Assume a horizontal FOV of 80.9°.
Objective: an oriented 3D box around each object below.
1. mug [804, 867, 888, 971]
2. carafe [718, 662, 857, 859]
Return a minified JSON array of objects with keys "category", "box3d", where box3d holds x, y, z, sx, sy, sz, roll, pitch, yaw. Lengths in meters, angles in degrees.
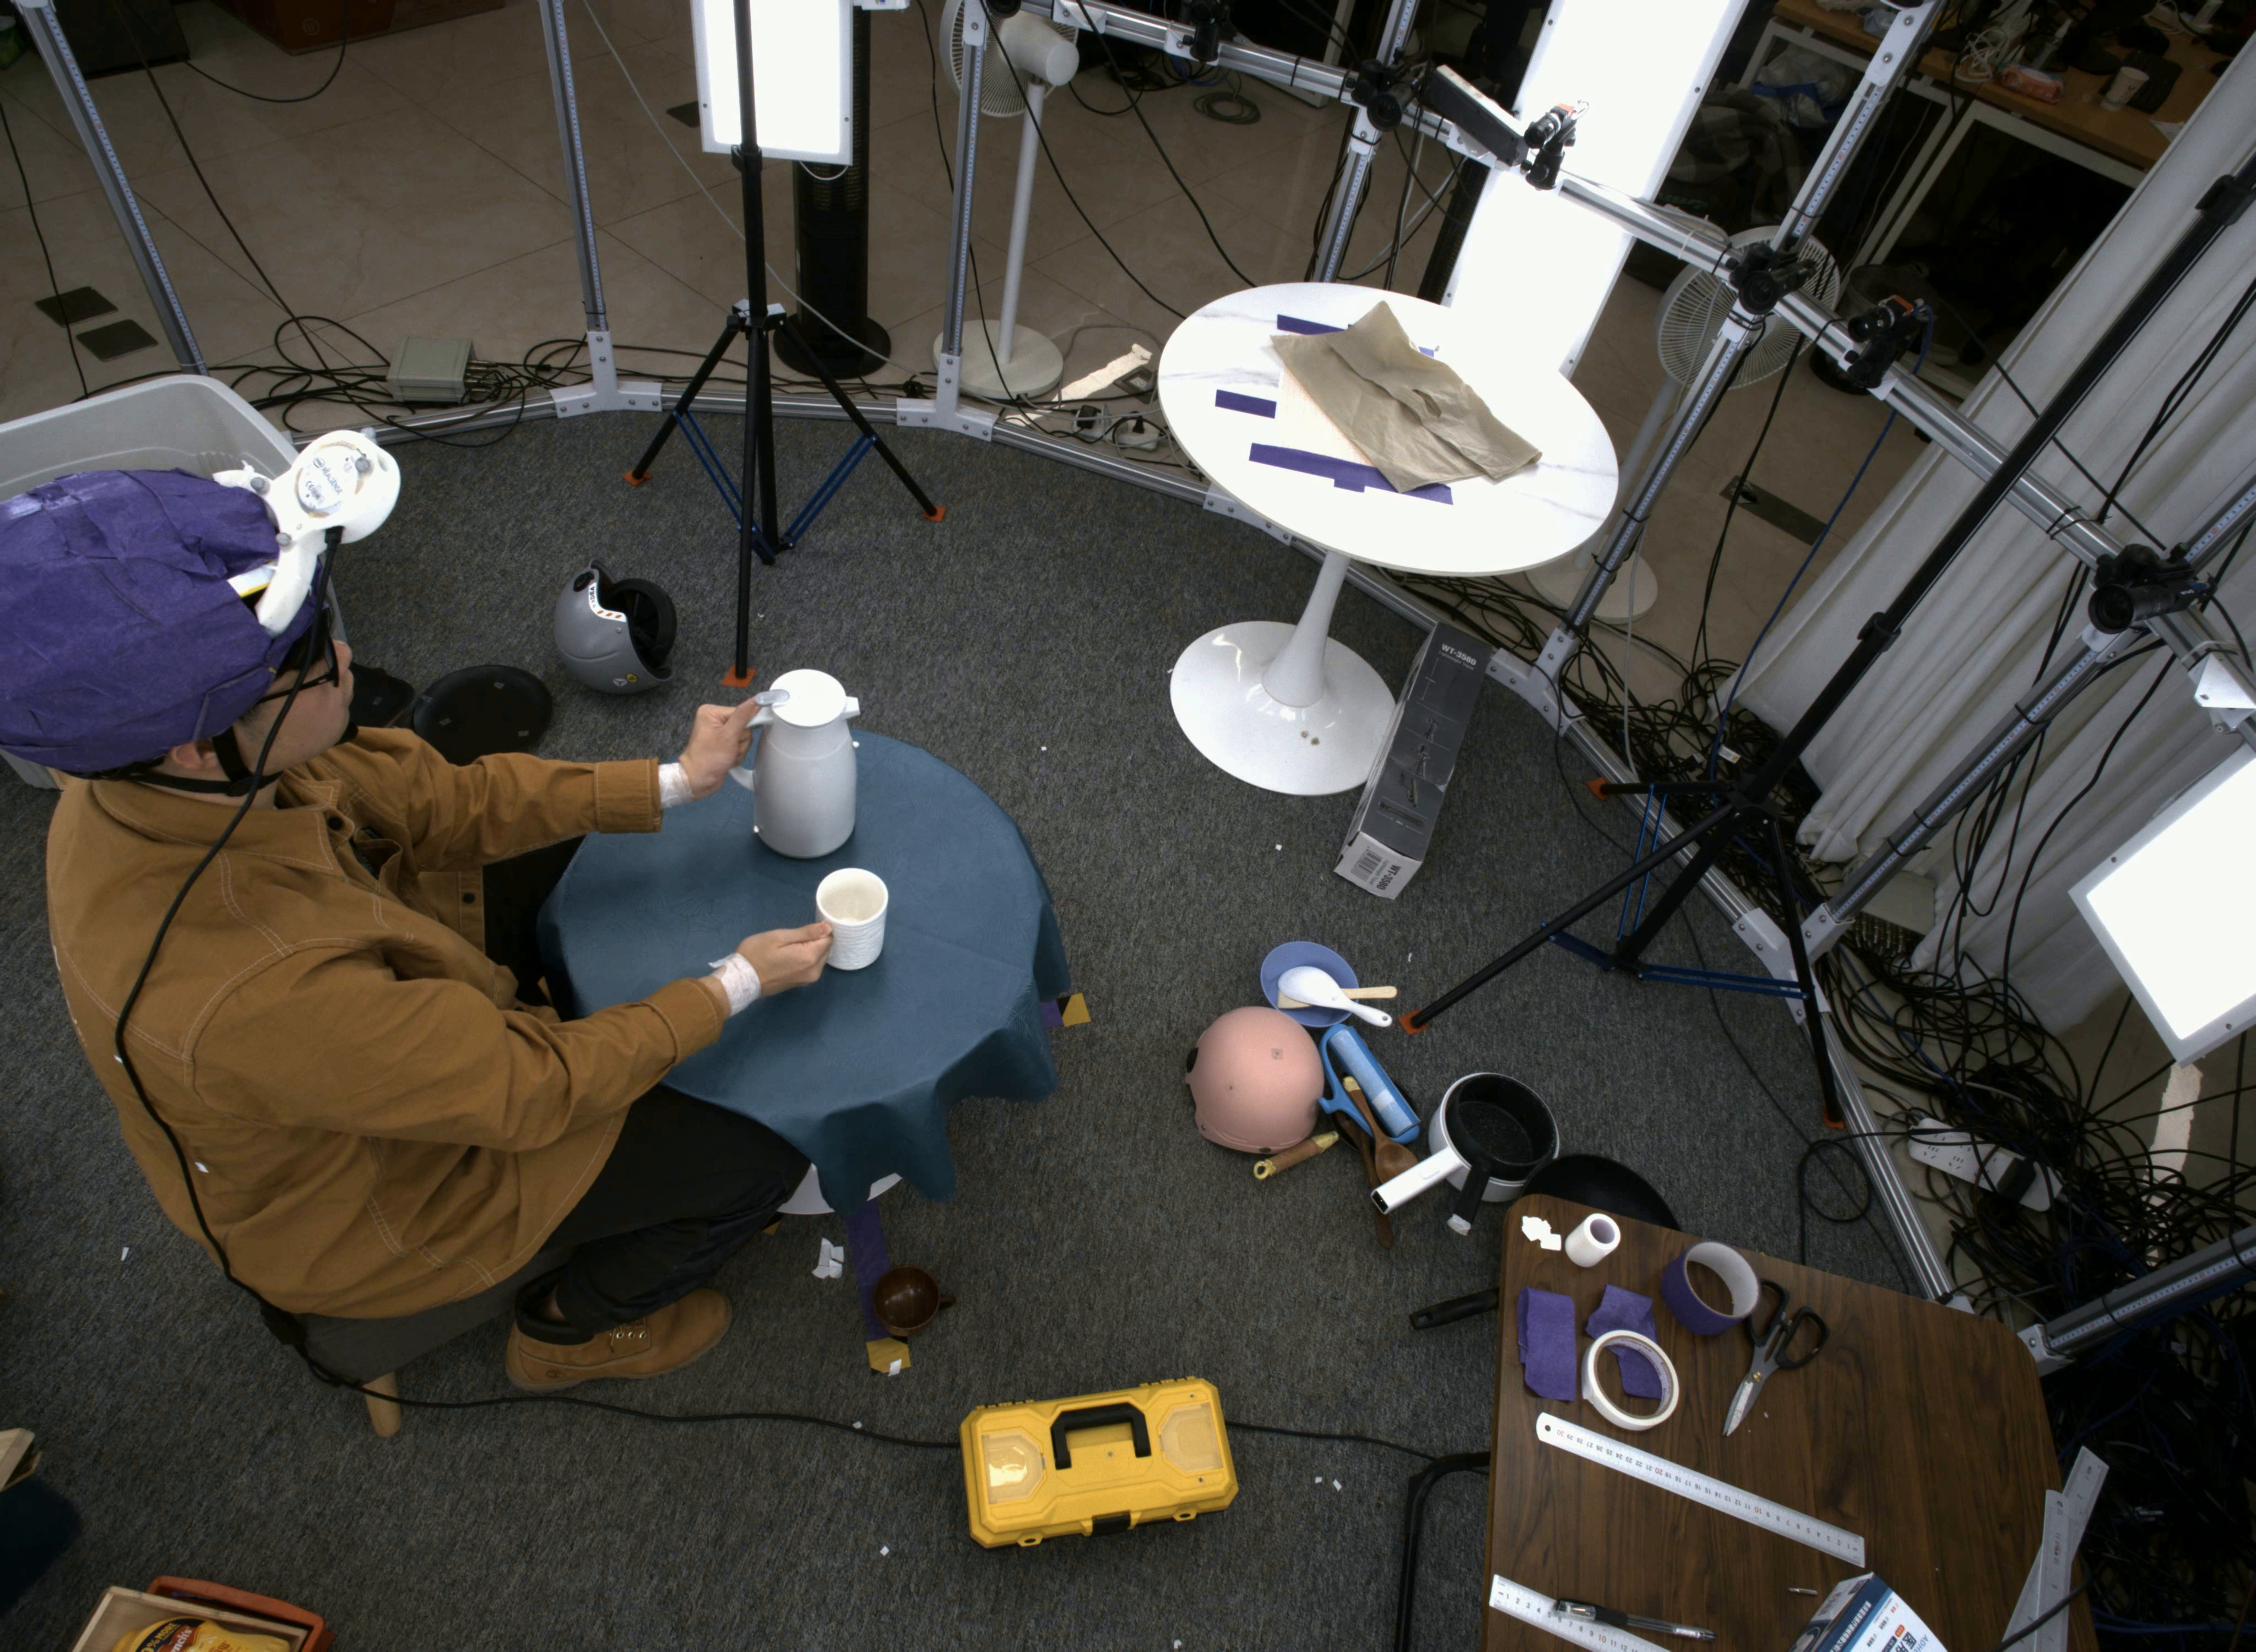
[{"category":"mug","box3d":[-0.348,0.122,1.578,0.083,0.104,0.118,34,49,14]},{"category":"carafe","box3d":[-0.423,-0.085,1.614,0.168,0.253,0.129,-6,55,-18]}]
